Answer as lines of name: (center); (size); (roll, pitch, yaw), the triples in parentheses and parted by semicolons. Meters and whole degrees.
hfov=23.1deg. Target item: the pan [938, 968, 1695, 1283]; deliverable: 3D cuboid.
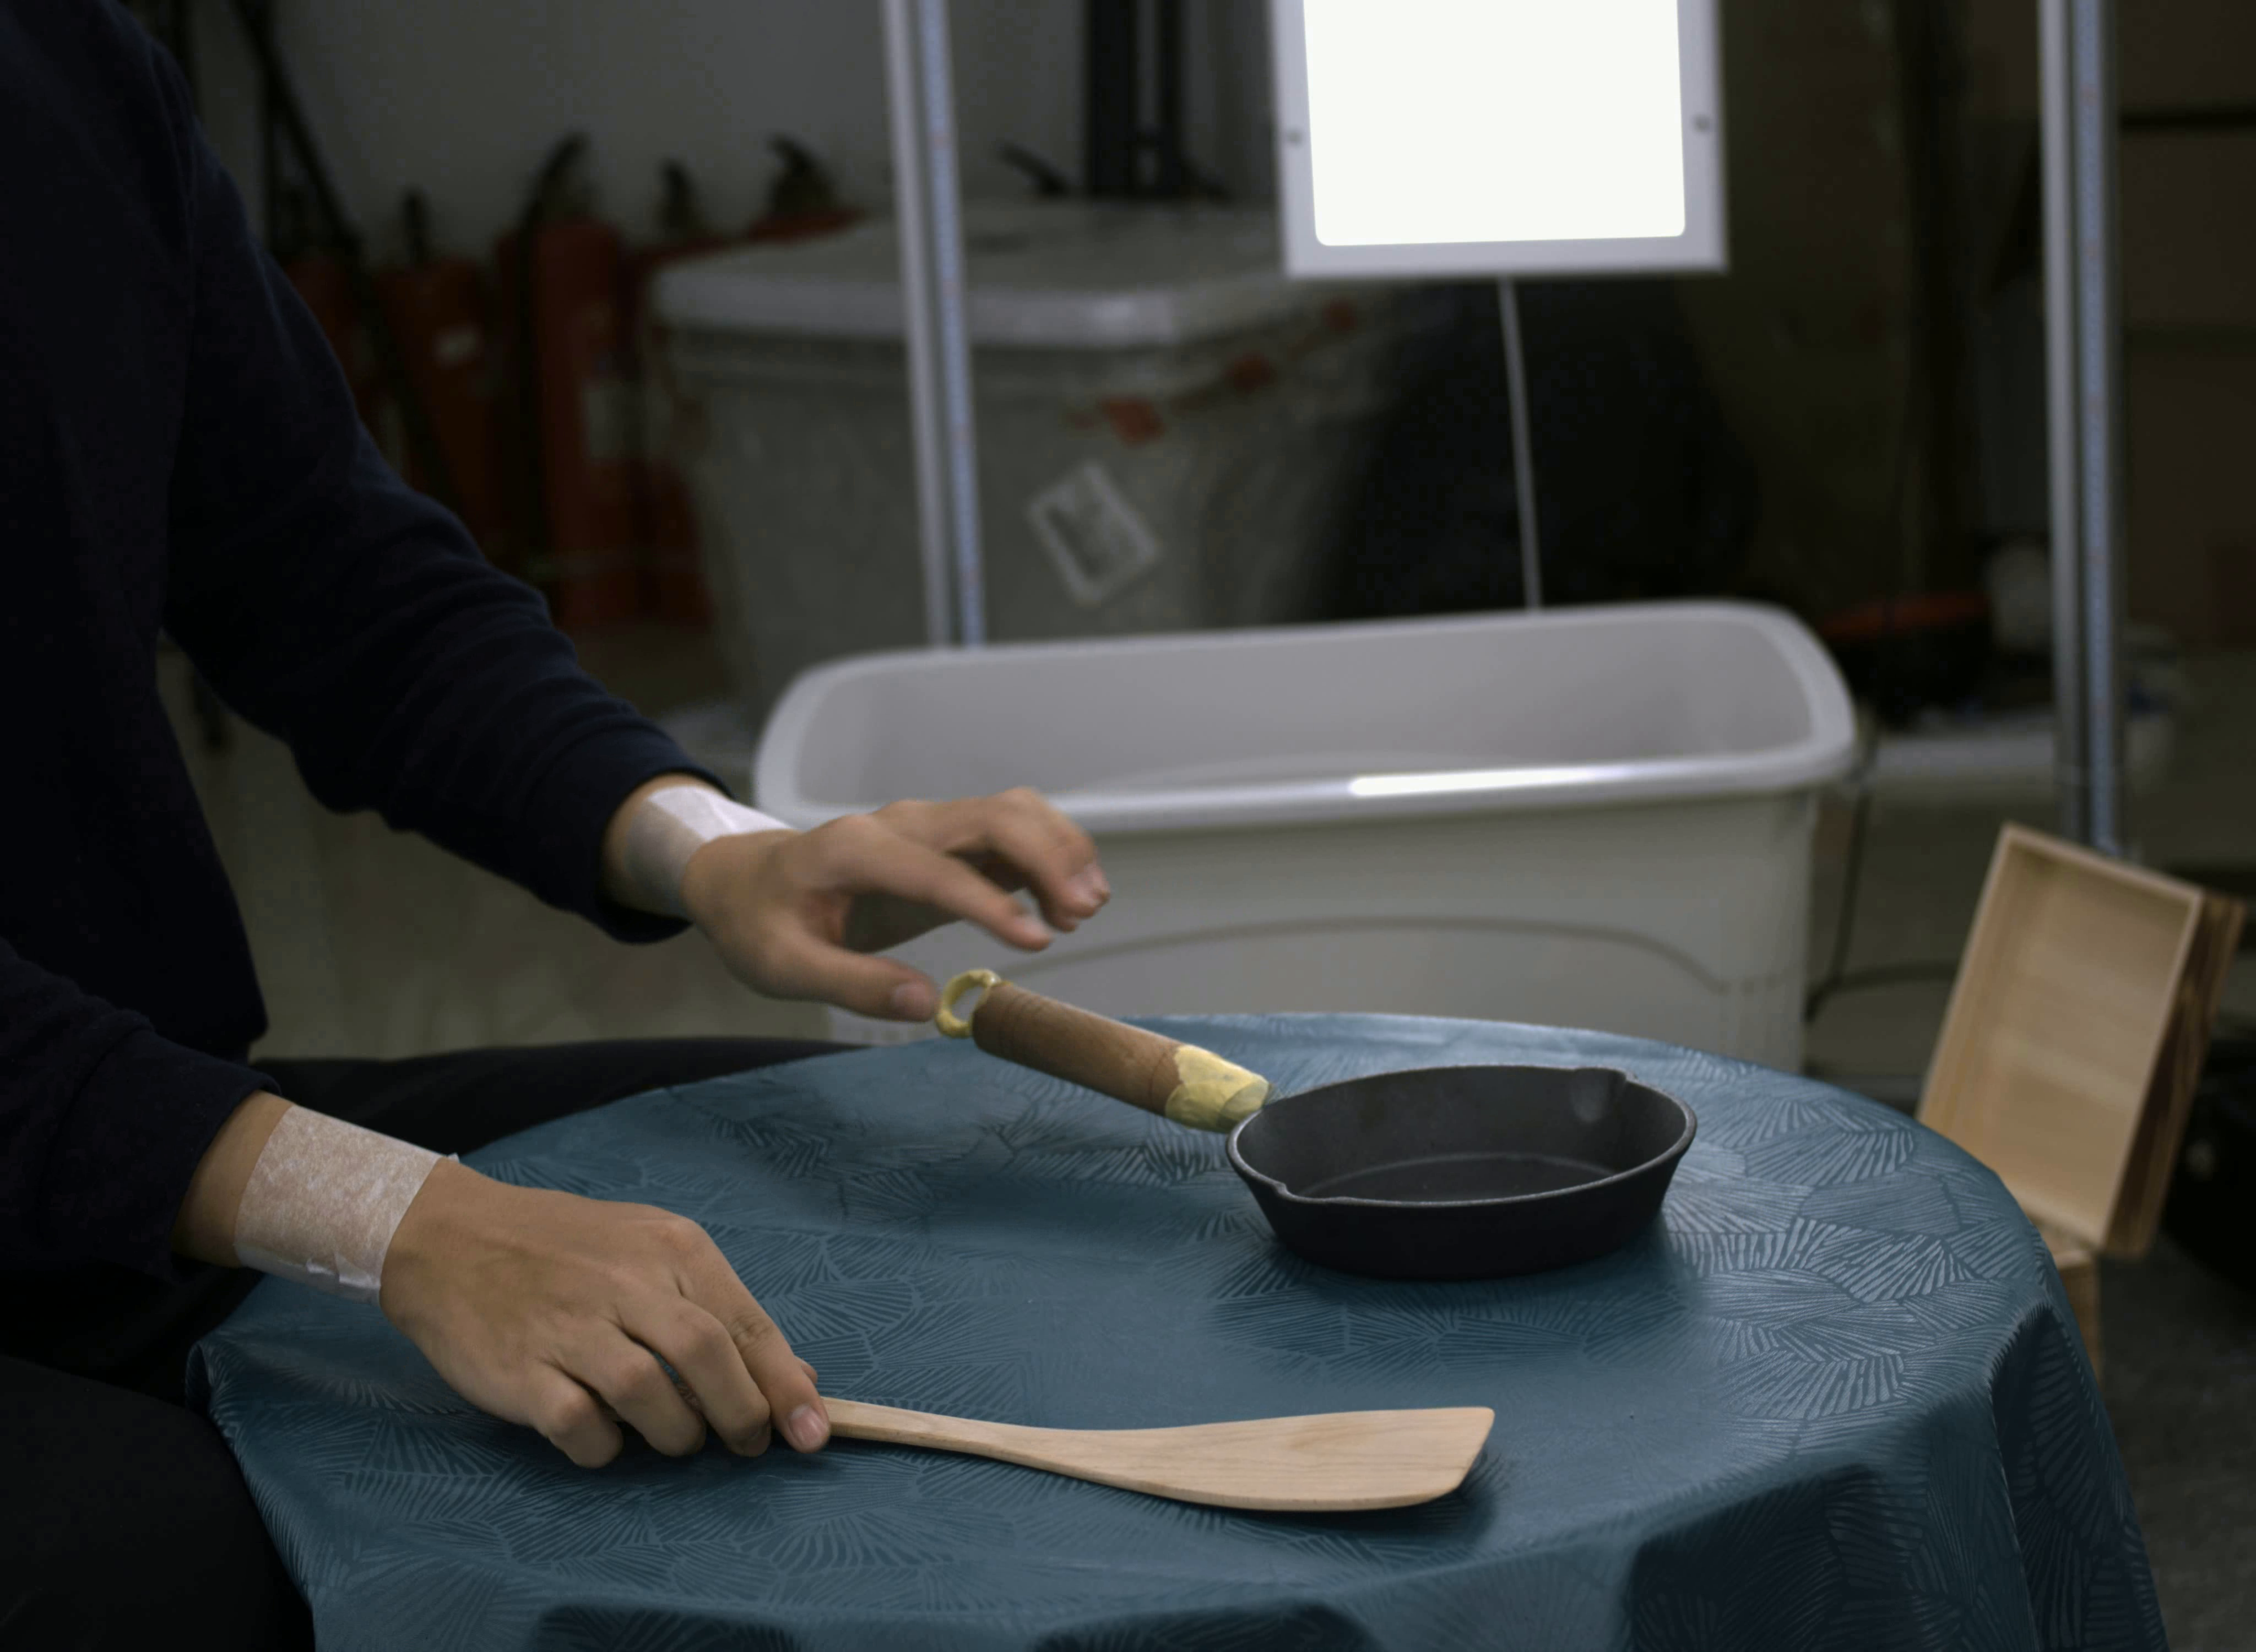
pan: (0.052, 0.098, 1.890); (0.164, 0.050, 0.331); (-18, 20, -41)

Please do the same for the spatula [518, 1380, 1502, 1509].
spatula: (-0.040, 0.180, 1.660); (0.333, 0.016, 0.078); (2, 15, 26)
